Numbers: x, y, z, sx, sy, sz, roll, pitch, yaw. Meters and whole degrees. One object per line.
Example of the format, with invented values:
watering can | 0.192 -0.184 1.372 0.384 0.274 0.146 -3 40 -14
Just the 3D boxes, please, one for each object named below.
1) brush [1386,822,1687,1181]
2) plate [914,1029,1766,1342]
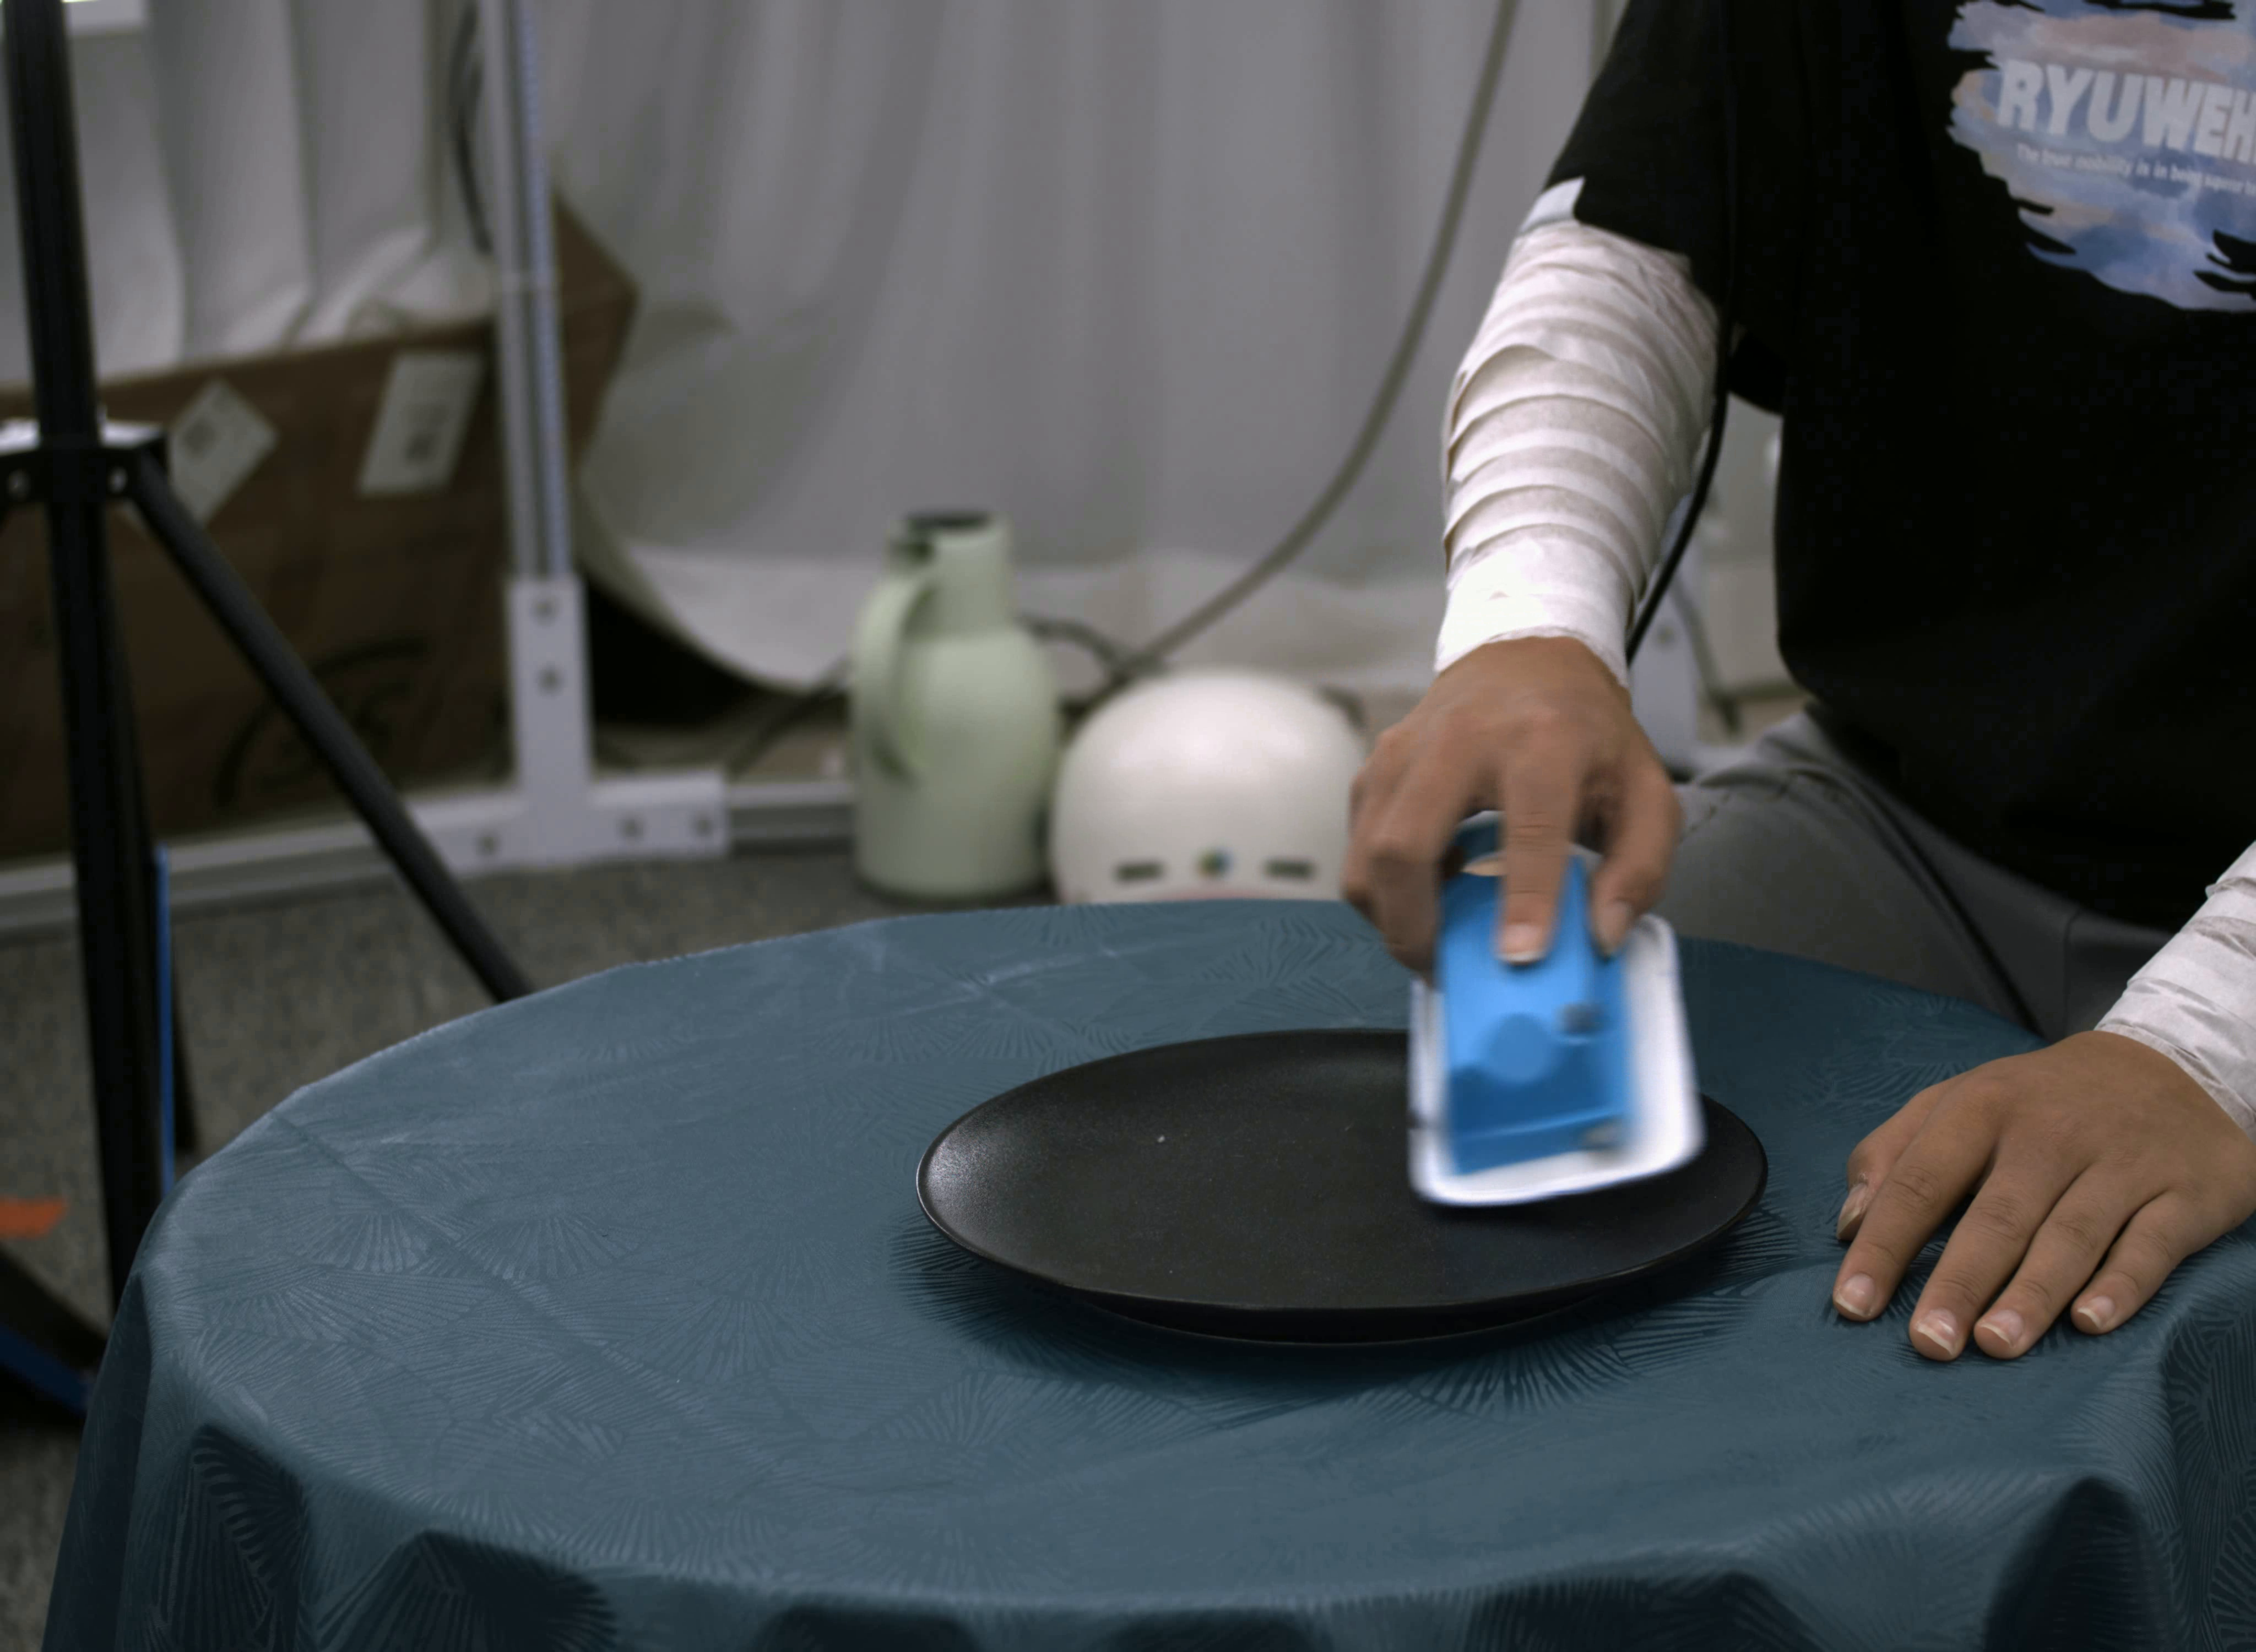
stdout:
brush | 0.119 0.046 1.552 0.084 0.055 0.145 -9 33 5
plate | 0.061 0.105 1.516 0.243 0.023 0.245 -3 16 -1
